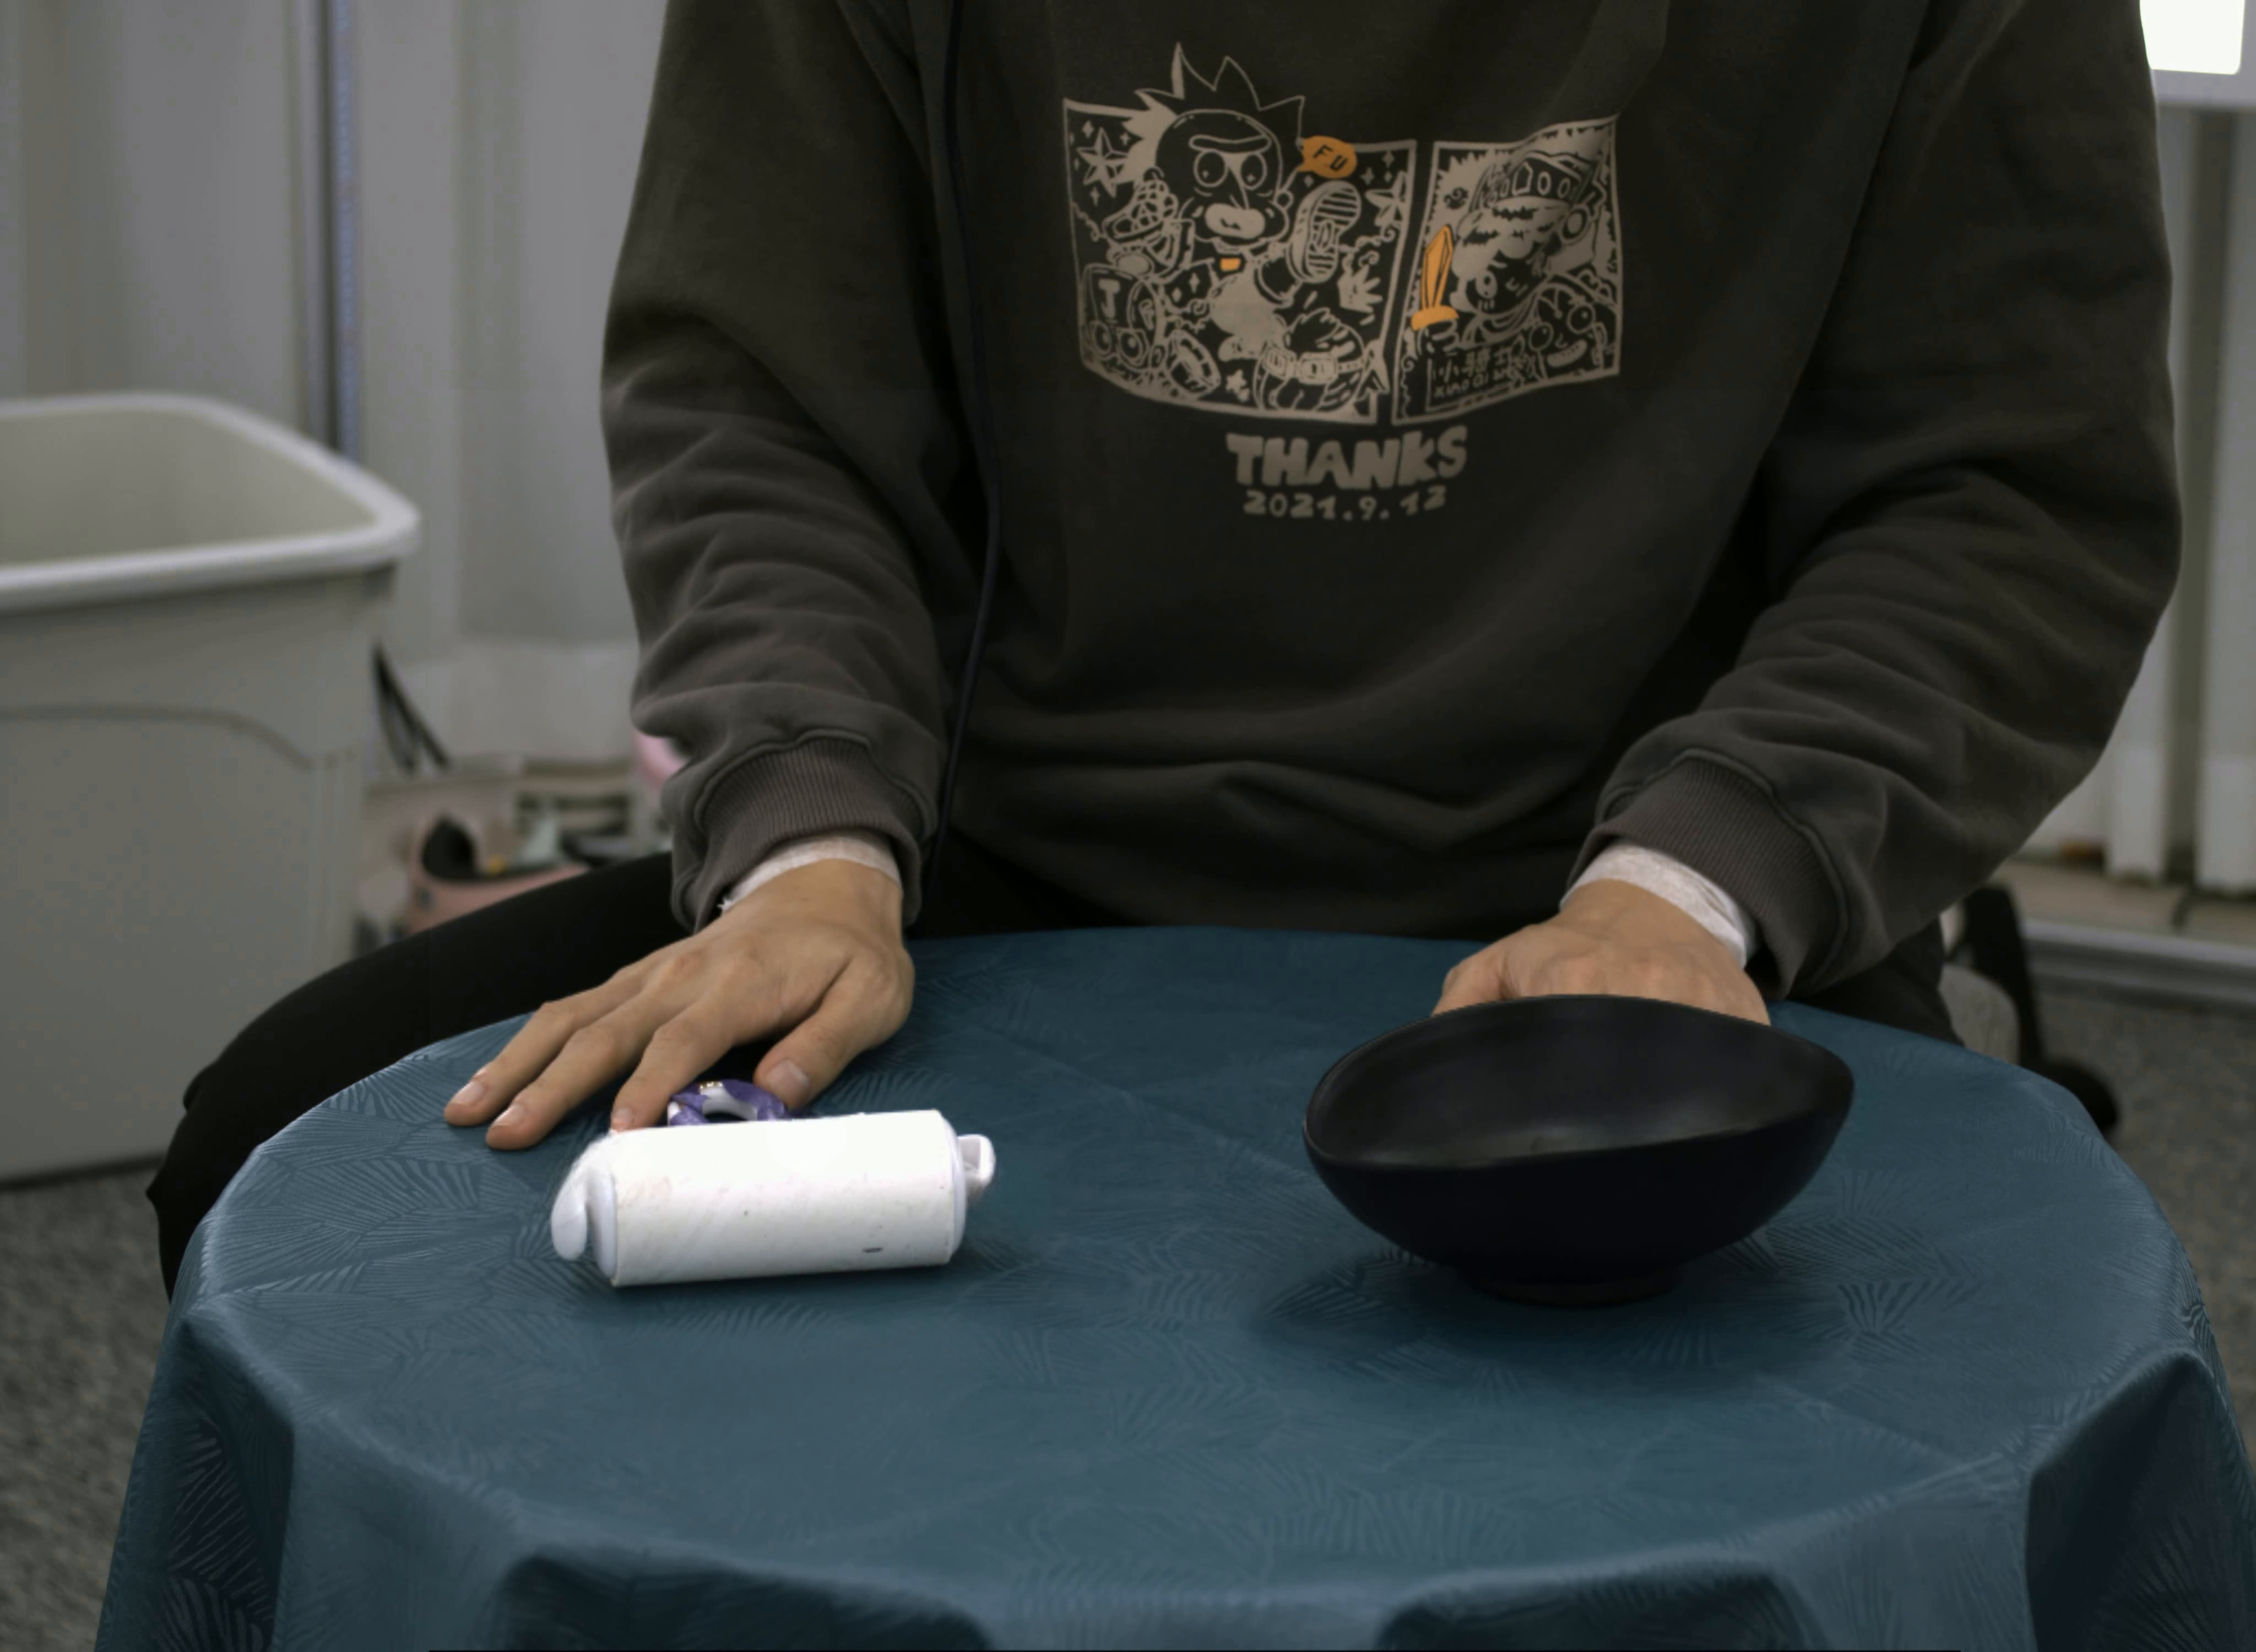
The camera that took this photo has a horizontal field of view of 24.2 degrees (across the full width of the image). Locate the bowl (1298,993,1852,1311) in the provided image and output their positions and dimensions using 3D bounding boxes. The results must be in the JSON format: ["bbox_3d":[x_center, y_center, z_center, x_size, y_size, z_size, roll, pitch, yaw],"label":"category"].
[{"bbox_3d":[0.133,0.102,1.556,0.171,0.067,0.135,-9,17,-25],"label":"bowl"}]

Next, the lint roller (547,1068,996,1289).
[{"bbox_3d":[-0.115,0.091,1.613,0.133,0.050,0.179,-2,19,-9],"label":"lint roller"}]
